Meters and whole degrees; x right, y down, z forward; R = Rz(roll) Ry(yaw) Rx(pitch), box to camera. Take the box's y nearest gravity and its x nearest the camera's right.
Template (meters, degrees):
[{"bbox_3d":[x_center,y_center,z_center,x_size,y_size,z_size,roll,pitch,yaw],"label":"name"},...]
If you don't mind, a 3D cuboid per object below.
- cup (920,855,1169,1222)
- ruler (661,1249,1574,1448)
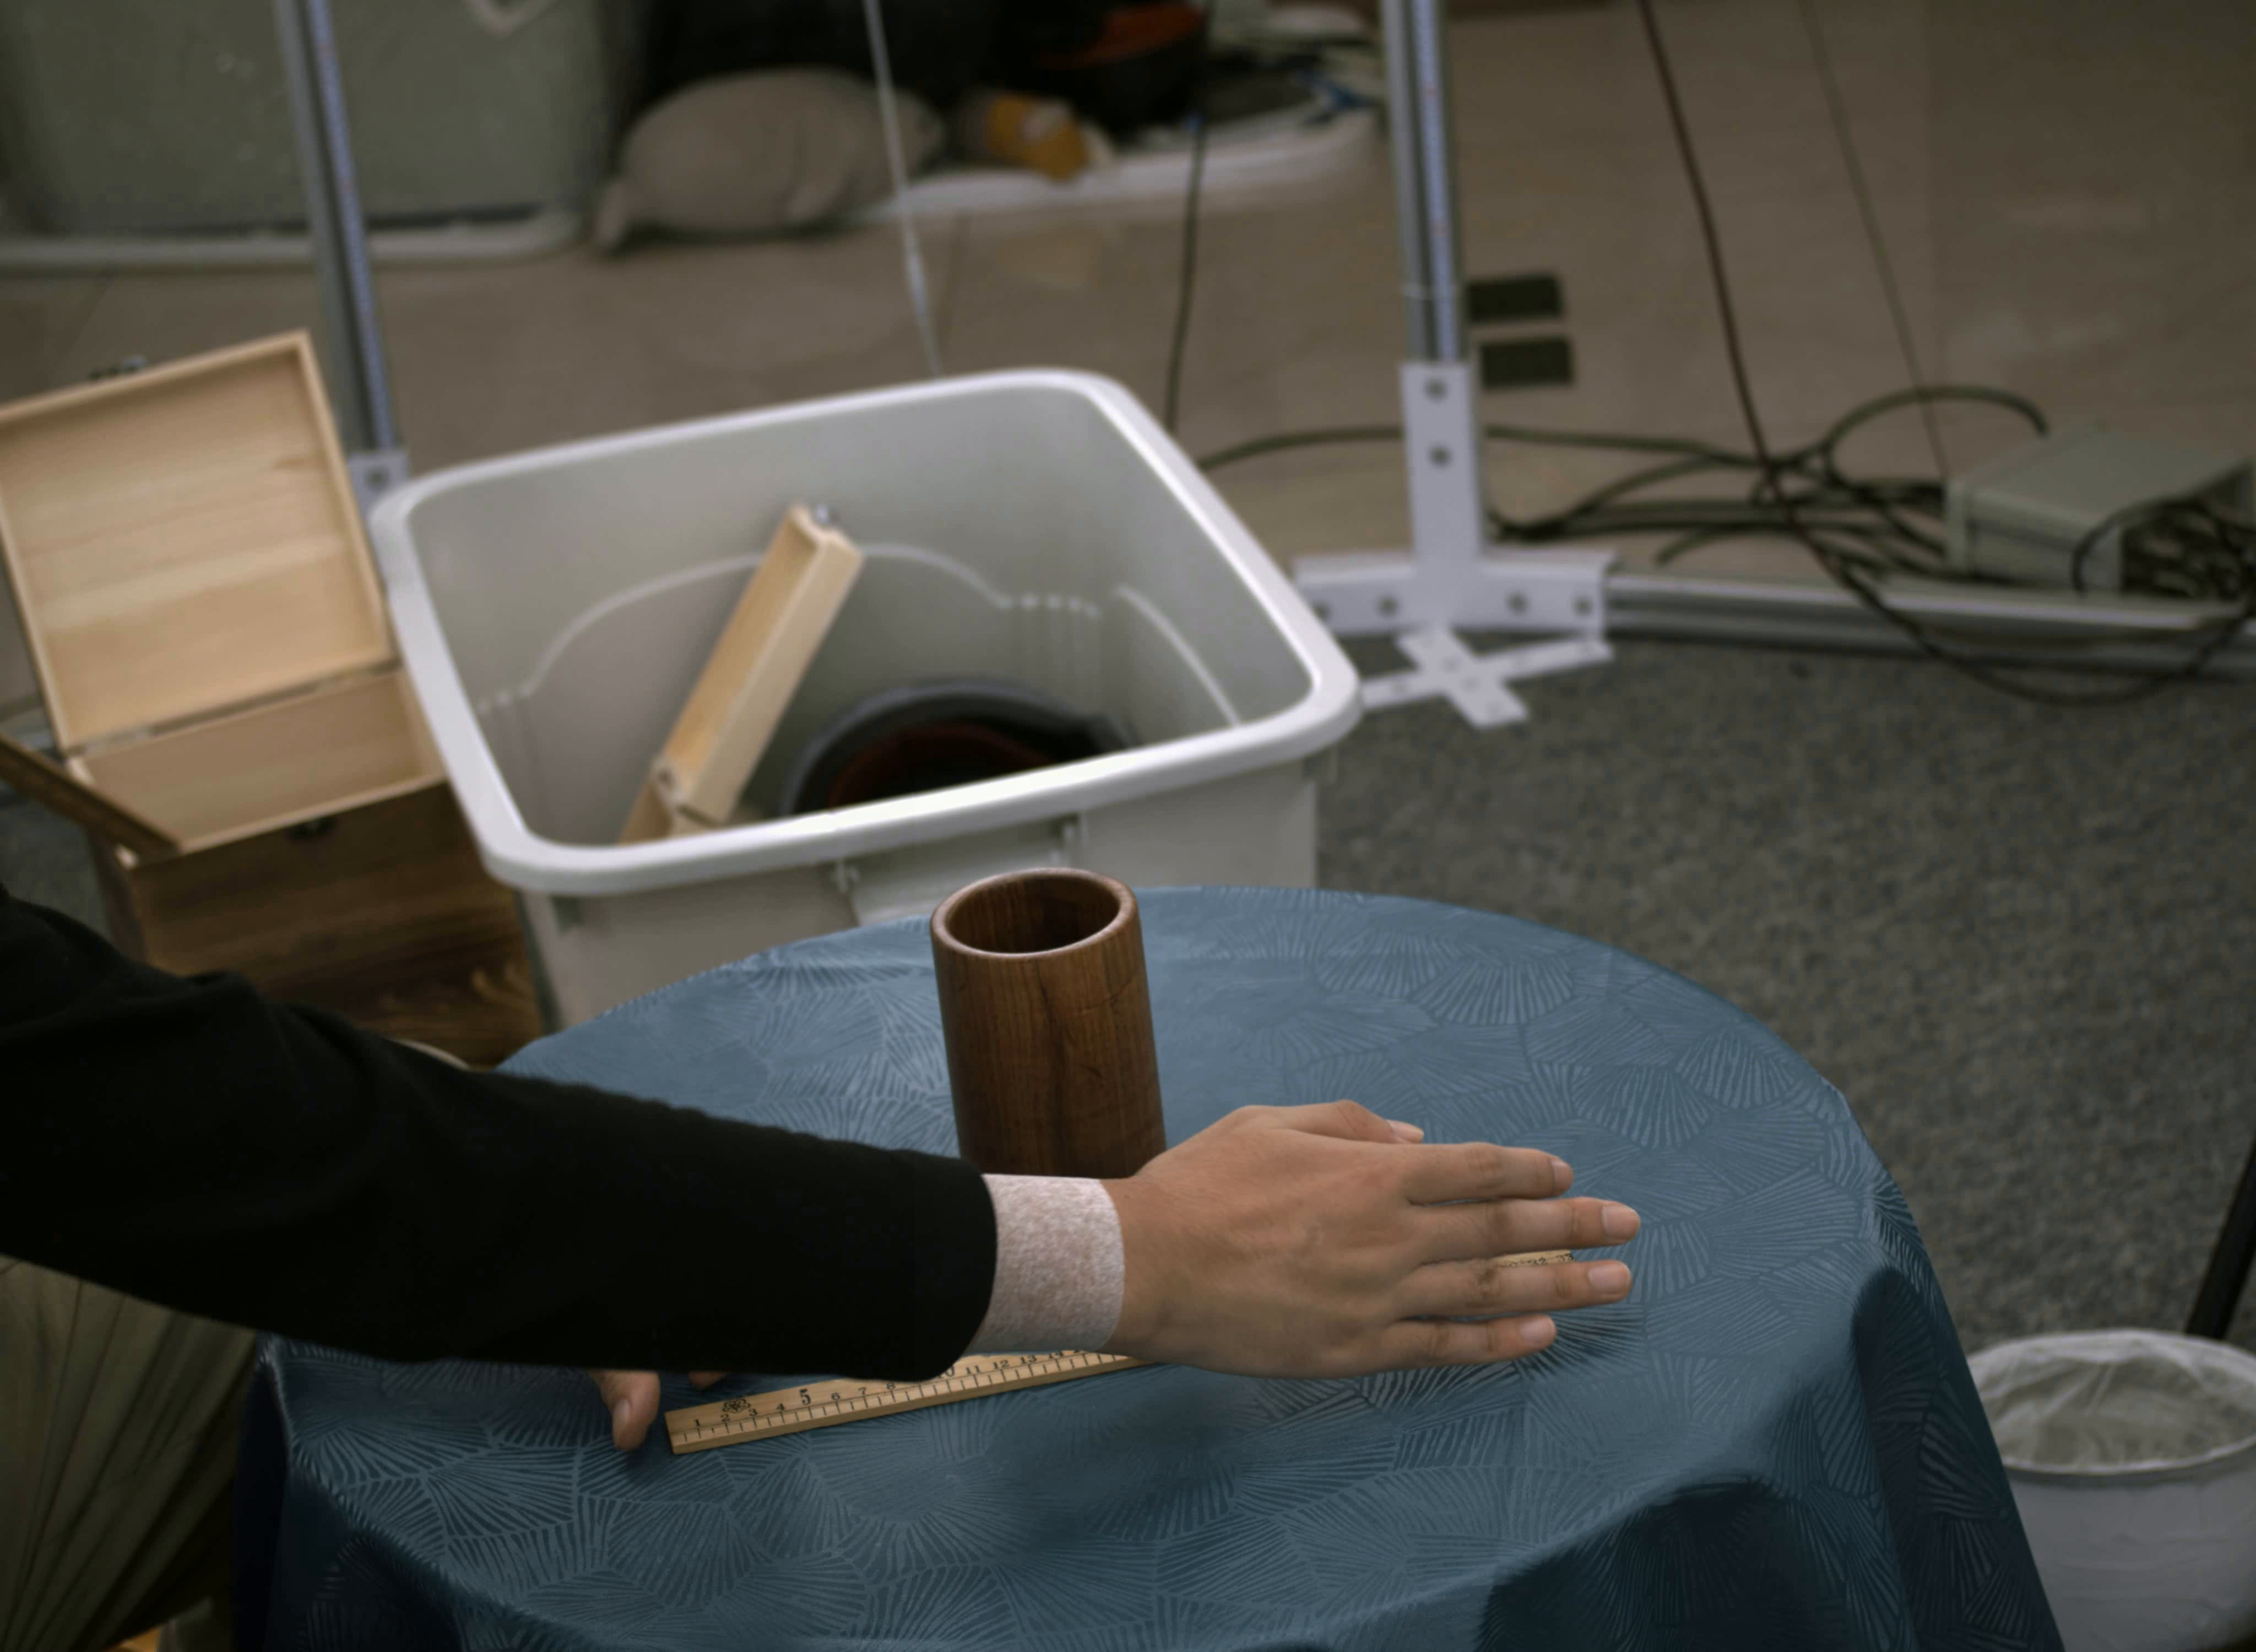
[{"bbox_3d":[-0.029,0.080,2.142,0.087,0.120,0.086,-6,25,3],"label":"cup"},{"bbox_3d":[-0.003,0.185,2.039,0.331,0.022,0.027,-9,19,-6],"label":"ruler"}]
